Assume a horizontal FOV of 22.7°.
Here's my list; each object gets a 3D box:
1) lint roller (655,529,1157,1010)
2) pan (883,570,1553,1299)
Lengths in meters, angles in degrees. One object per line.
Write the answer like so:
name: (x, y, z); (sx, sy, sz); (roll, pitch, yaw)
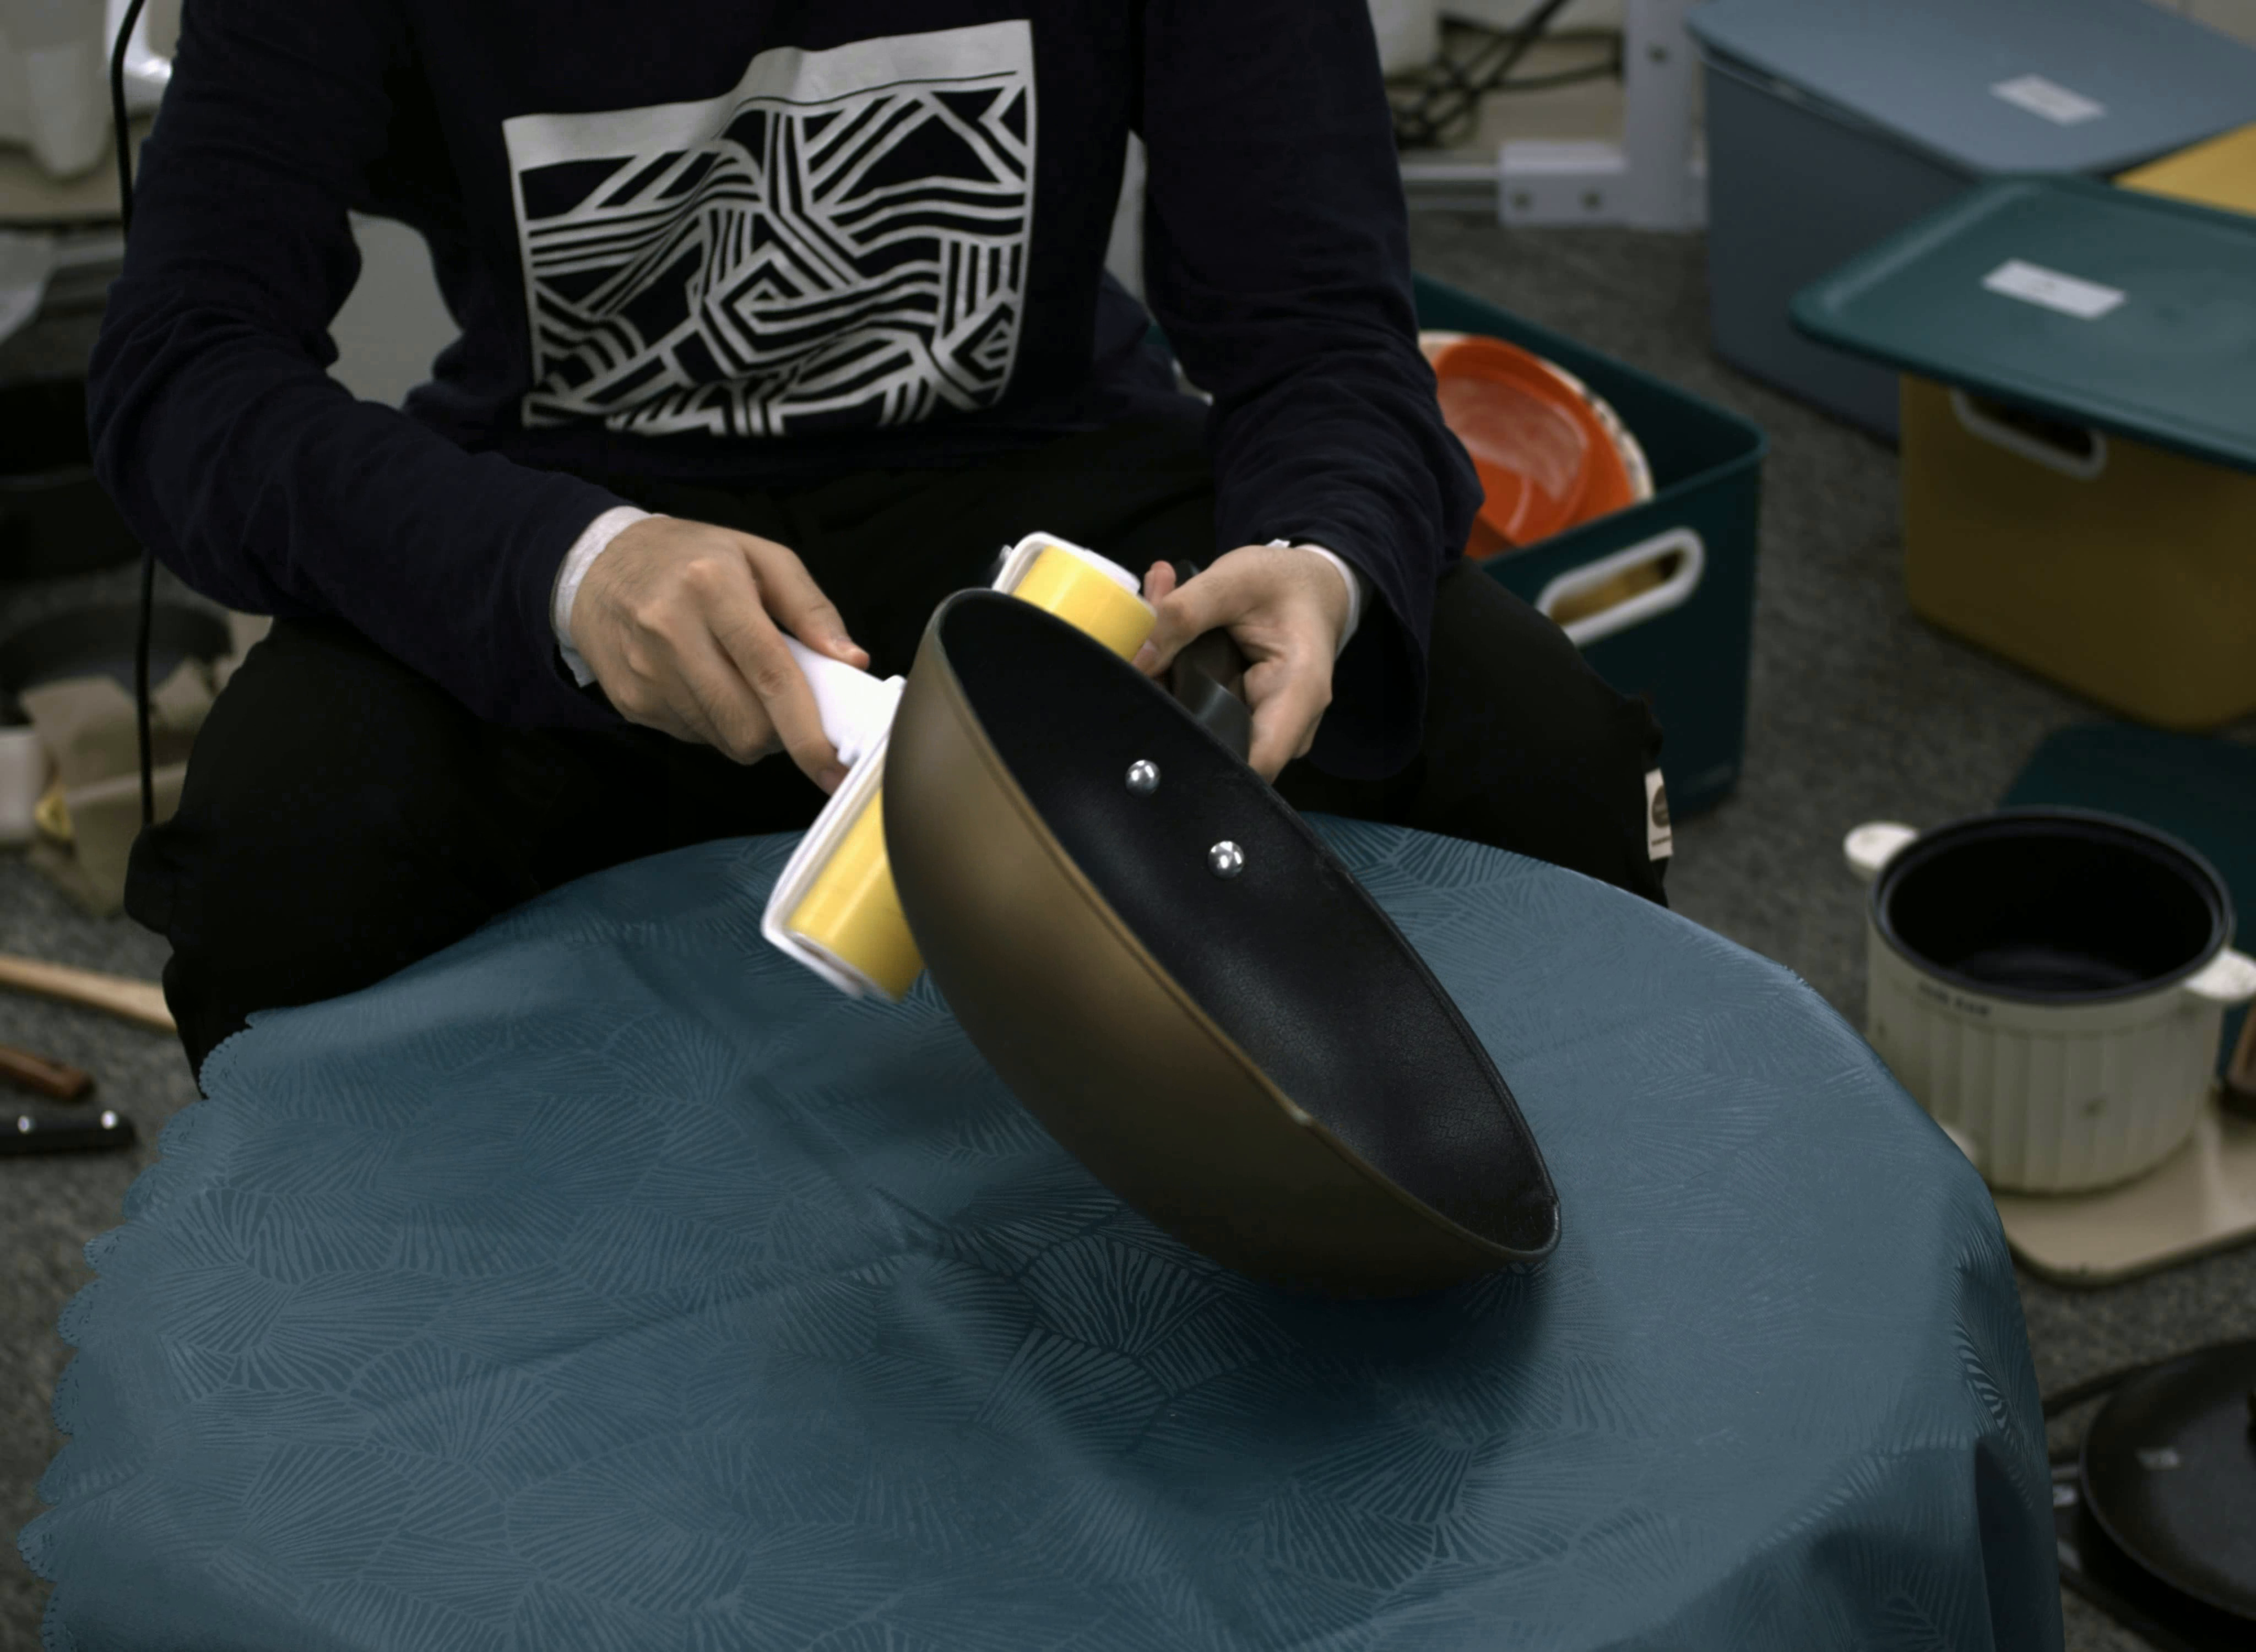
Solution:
lint roller: (-0.104, -0.043, 1.957); (0.192, 0.051, 0.175); (26, 79, 34)
pan: (0.010, 0.016, 1.871); (0.086, 0.287, 0.469); (-41, 17, 13)
